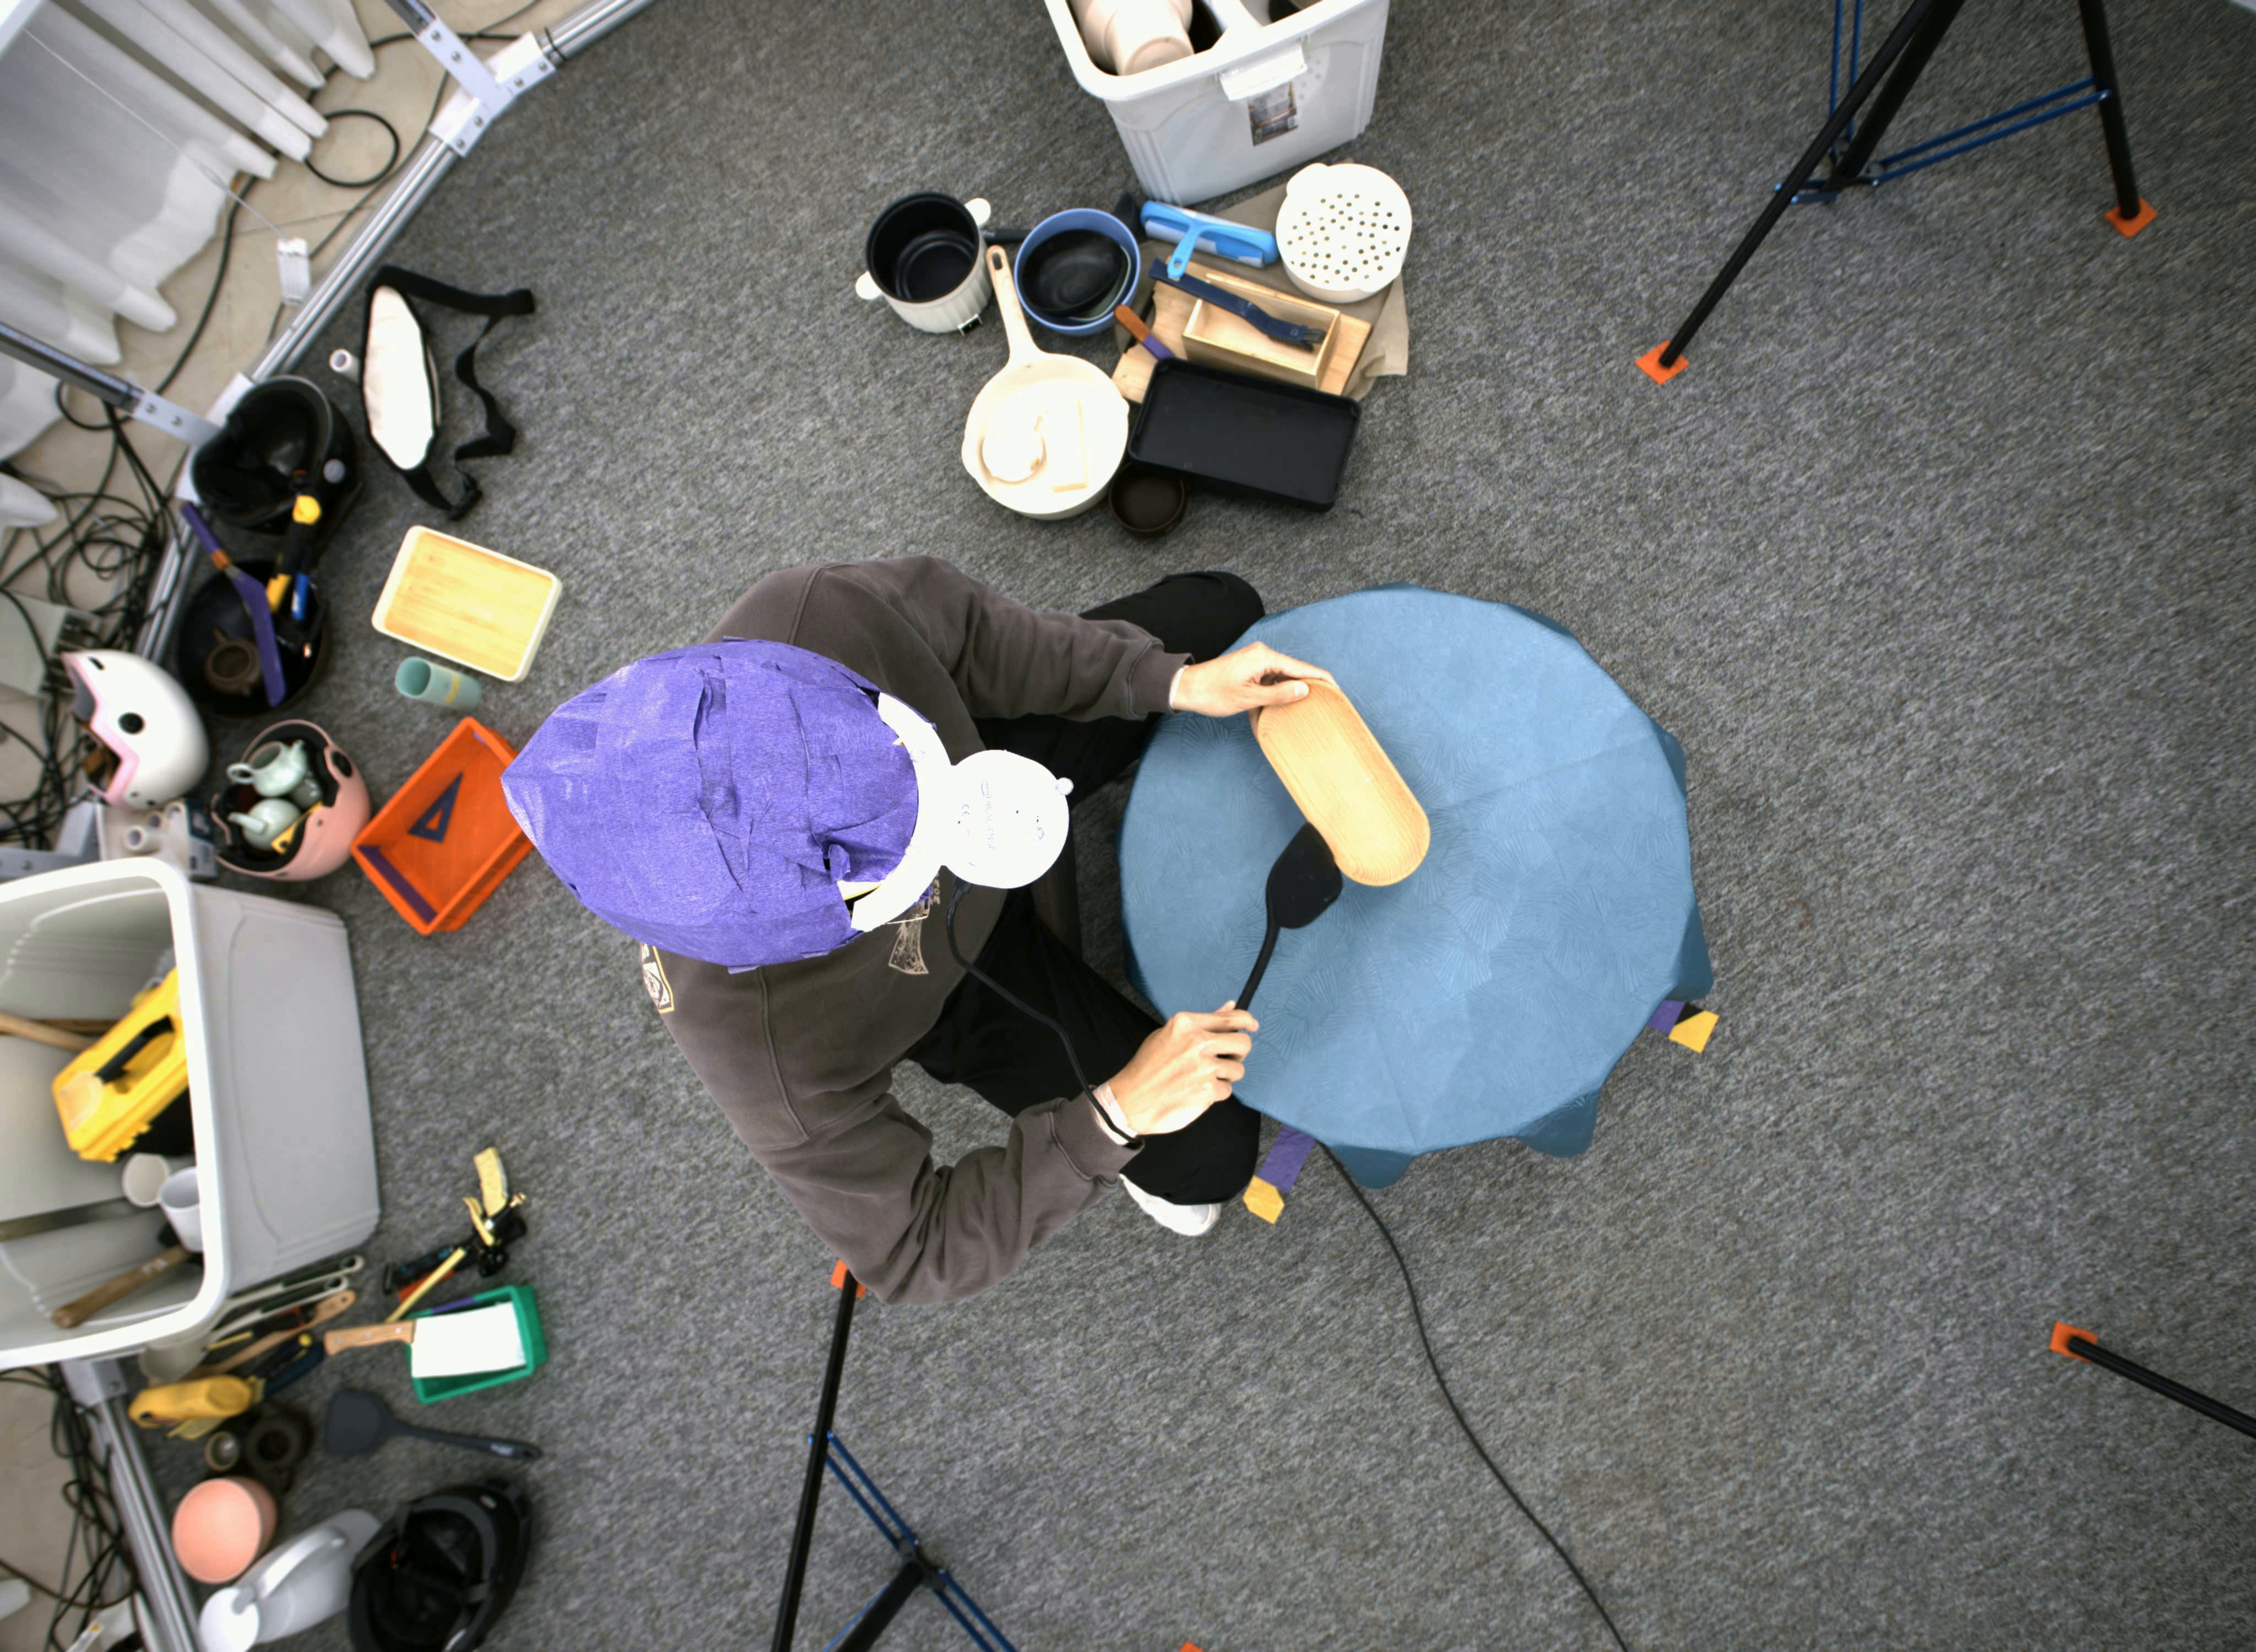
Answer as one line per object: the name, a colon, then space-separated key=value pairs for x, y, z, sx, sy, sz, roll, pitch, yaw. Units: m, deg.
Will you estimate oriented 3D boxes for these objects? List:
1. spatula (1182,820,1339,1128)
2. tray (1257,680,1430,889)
spatula: x=0.120 y=0.139 z=1.285 sx=0.041 sy=0.101 sz=0.318 roll=-3 pitch=47 yaw=37
tray: x=0.214 y=-0.043 z=1.377 sx=0.103 sy=0.020 sz=0.229 roll=-35 pitch=79 yaw=14
